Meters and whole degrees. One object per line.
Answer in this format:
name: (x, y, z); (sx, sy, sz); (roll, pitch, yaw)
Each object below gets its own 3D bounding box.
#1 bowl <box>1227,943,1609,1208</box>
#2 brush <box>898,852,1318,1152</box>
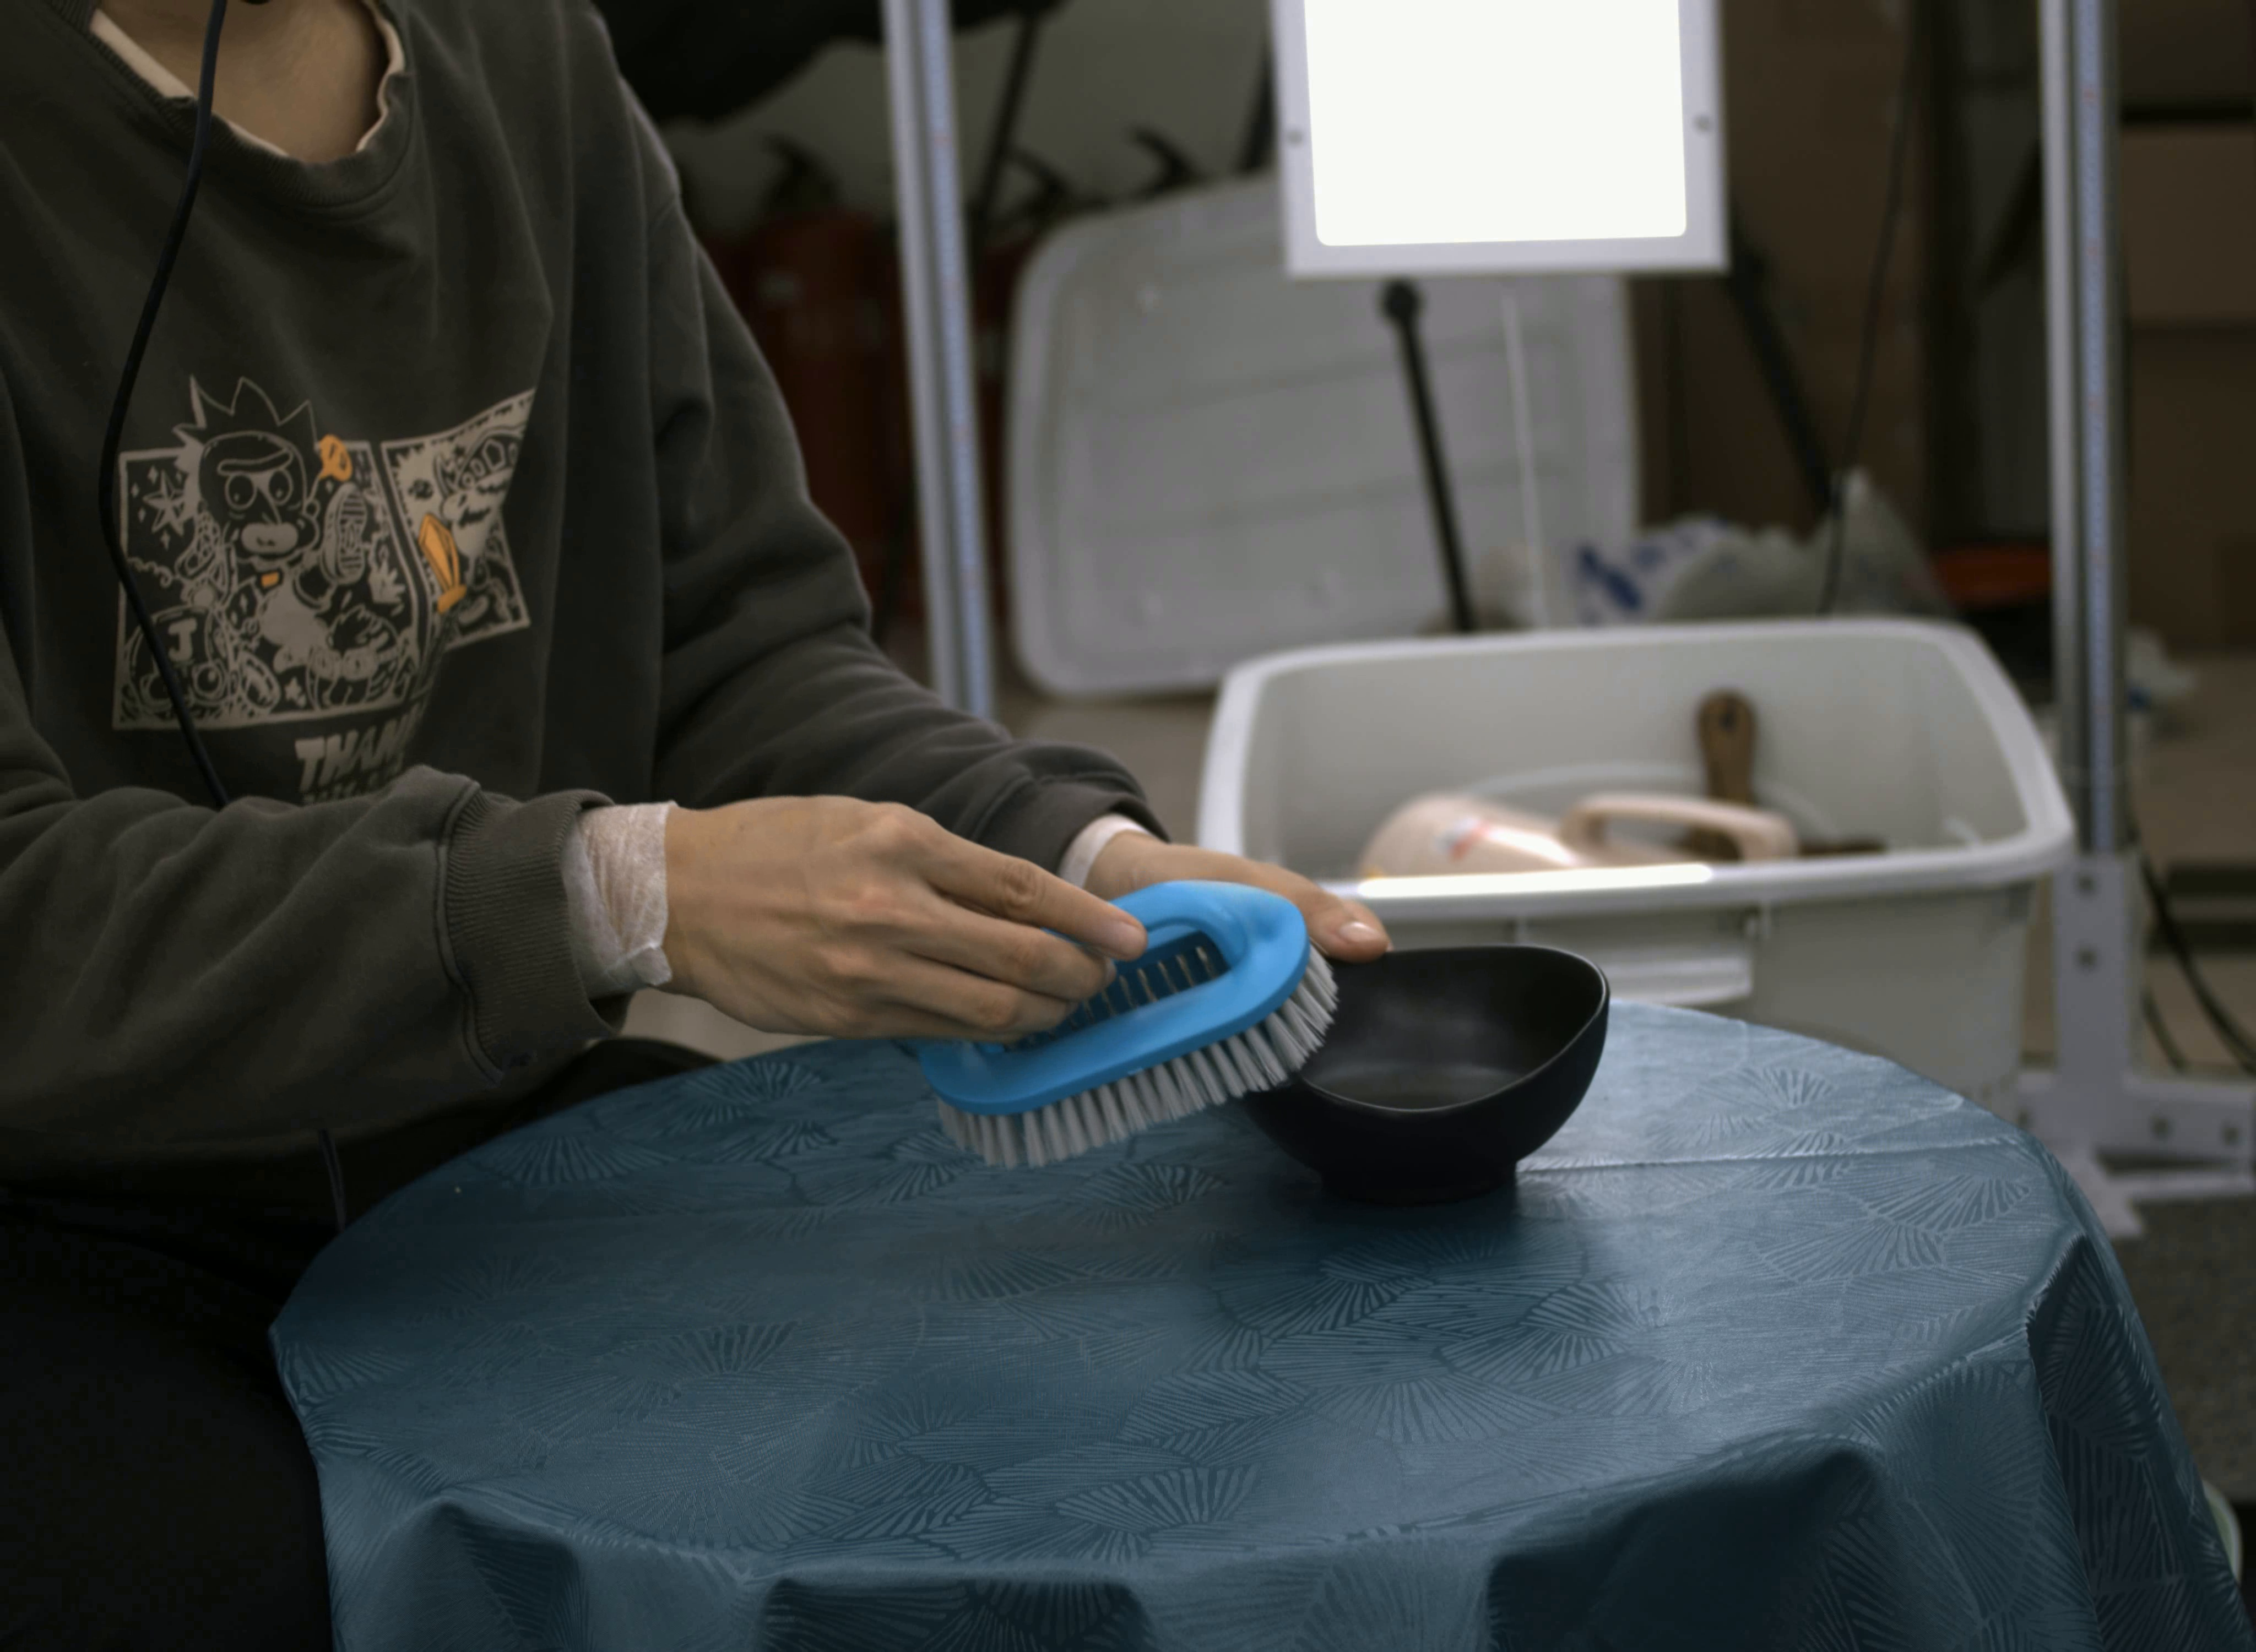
bowl: (0.099, 0.089, 1.881); (0.137, 0.067, 0.170); (-6, 15, 0)
brush: (-0.010, 0.050, 1.820); (0.142, 0.063, 0.084); (-19, 42, 8)
